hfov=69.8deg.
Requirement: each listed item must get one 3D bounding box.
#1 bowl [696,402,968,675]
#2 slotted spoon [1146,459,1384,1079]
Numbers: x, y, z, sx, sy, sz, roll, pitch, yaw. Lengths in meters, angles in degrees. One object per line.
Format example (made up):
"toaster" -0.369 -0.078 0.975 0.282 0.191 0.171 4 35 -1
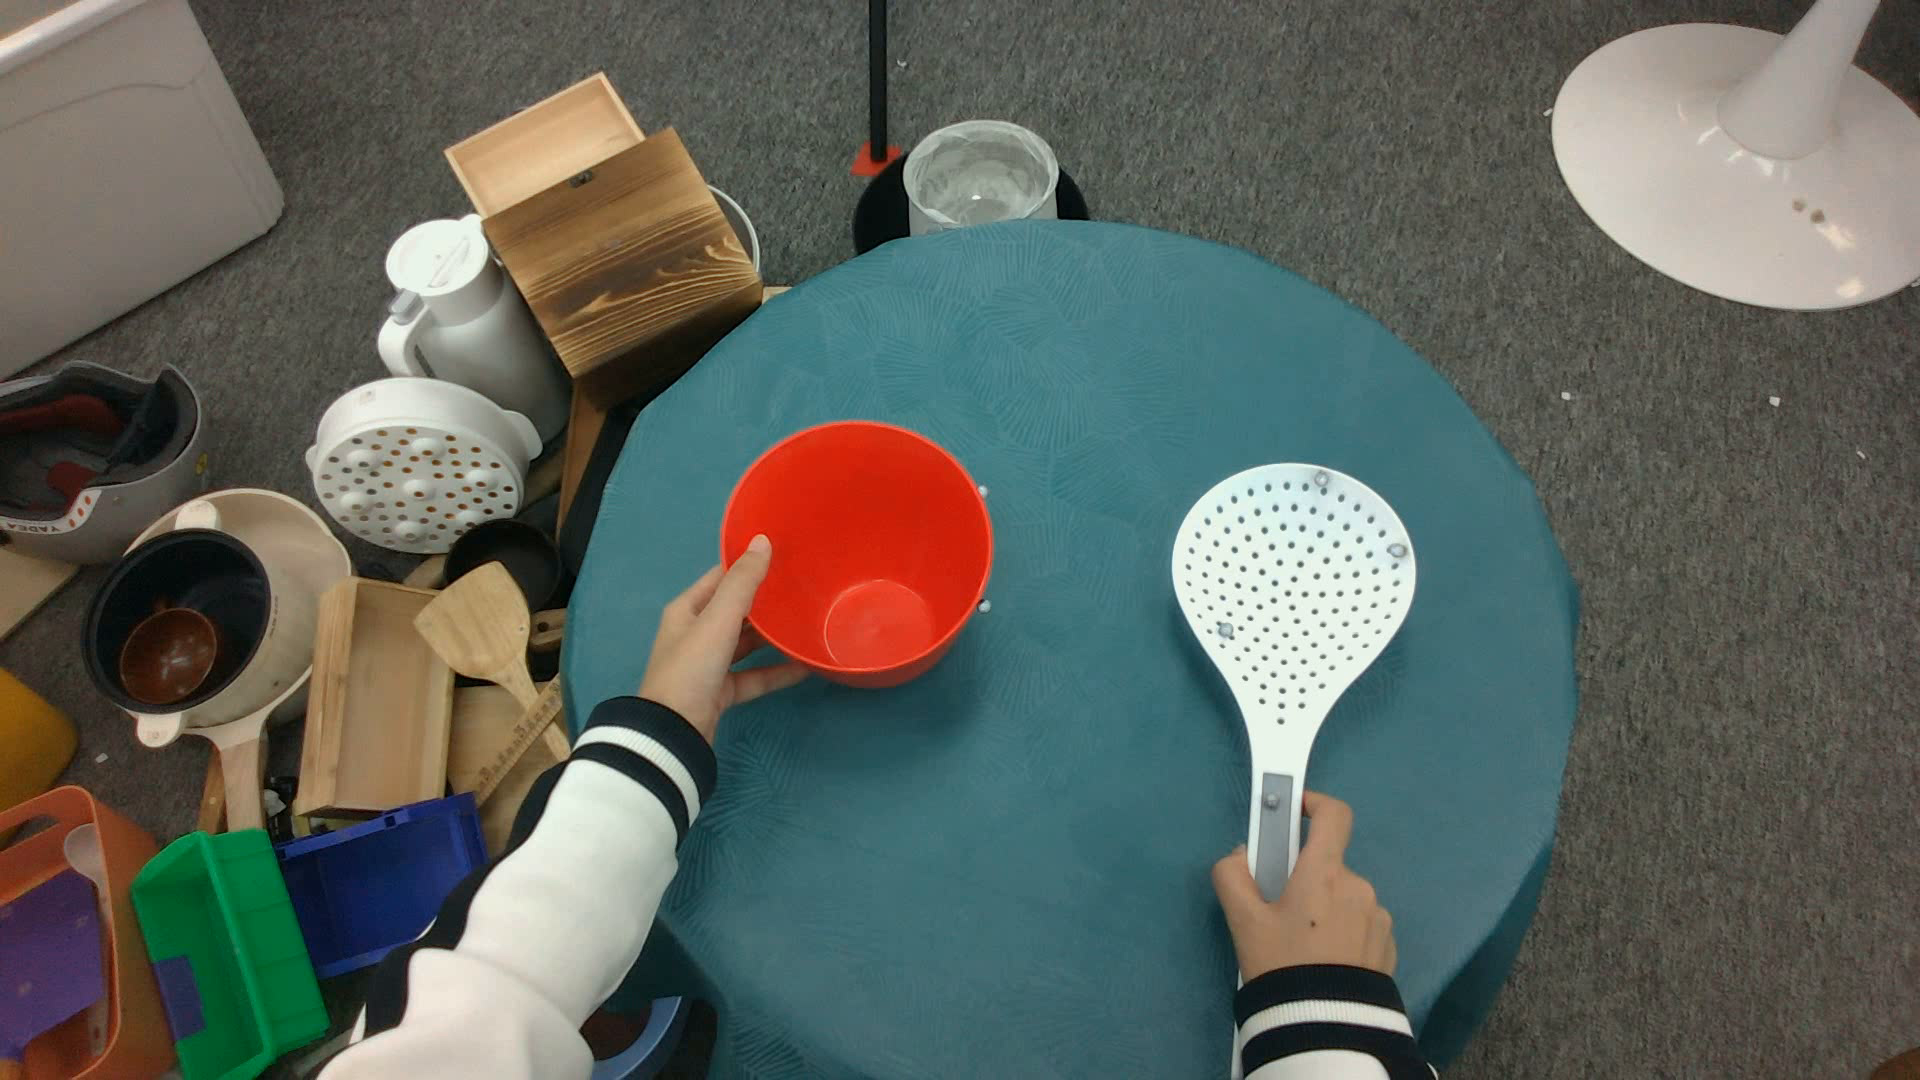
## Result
"bowl" -0.073 0.012 0.778 0.148 0.104 0.148 4 57 -6
"slotted spoon" 0.159 0.111 0.758 0.136 0.045 0.351 5 59 12
